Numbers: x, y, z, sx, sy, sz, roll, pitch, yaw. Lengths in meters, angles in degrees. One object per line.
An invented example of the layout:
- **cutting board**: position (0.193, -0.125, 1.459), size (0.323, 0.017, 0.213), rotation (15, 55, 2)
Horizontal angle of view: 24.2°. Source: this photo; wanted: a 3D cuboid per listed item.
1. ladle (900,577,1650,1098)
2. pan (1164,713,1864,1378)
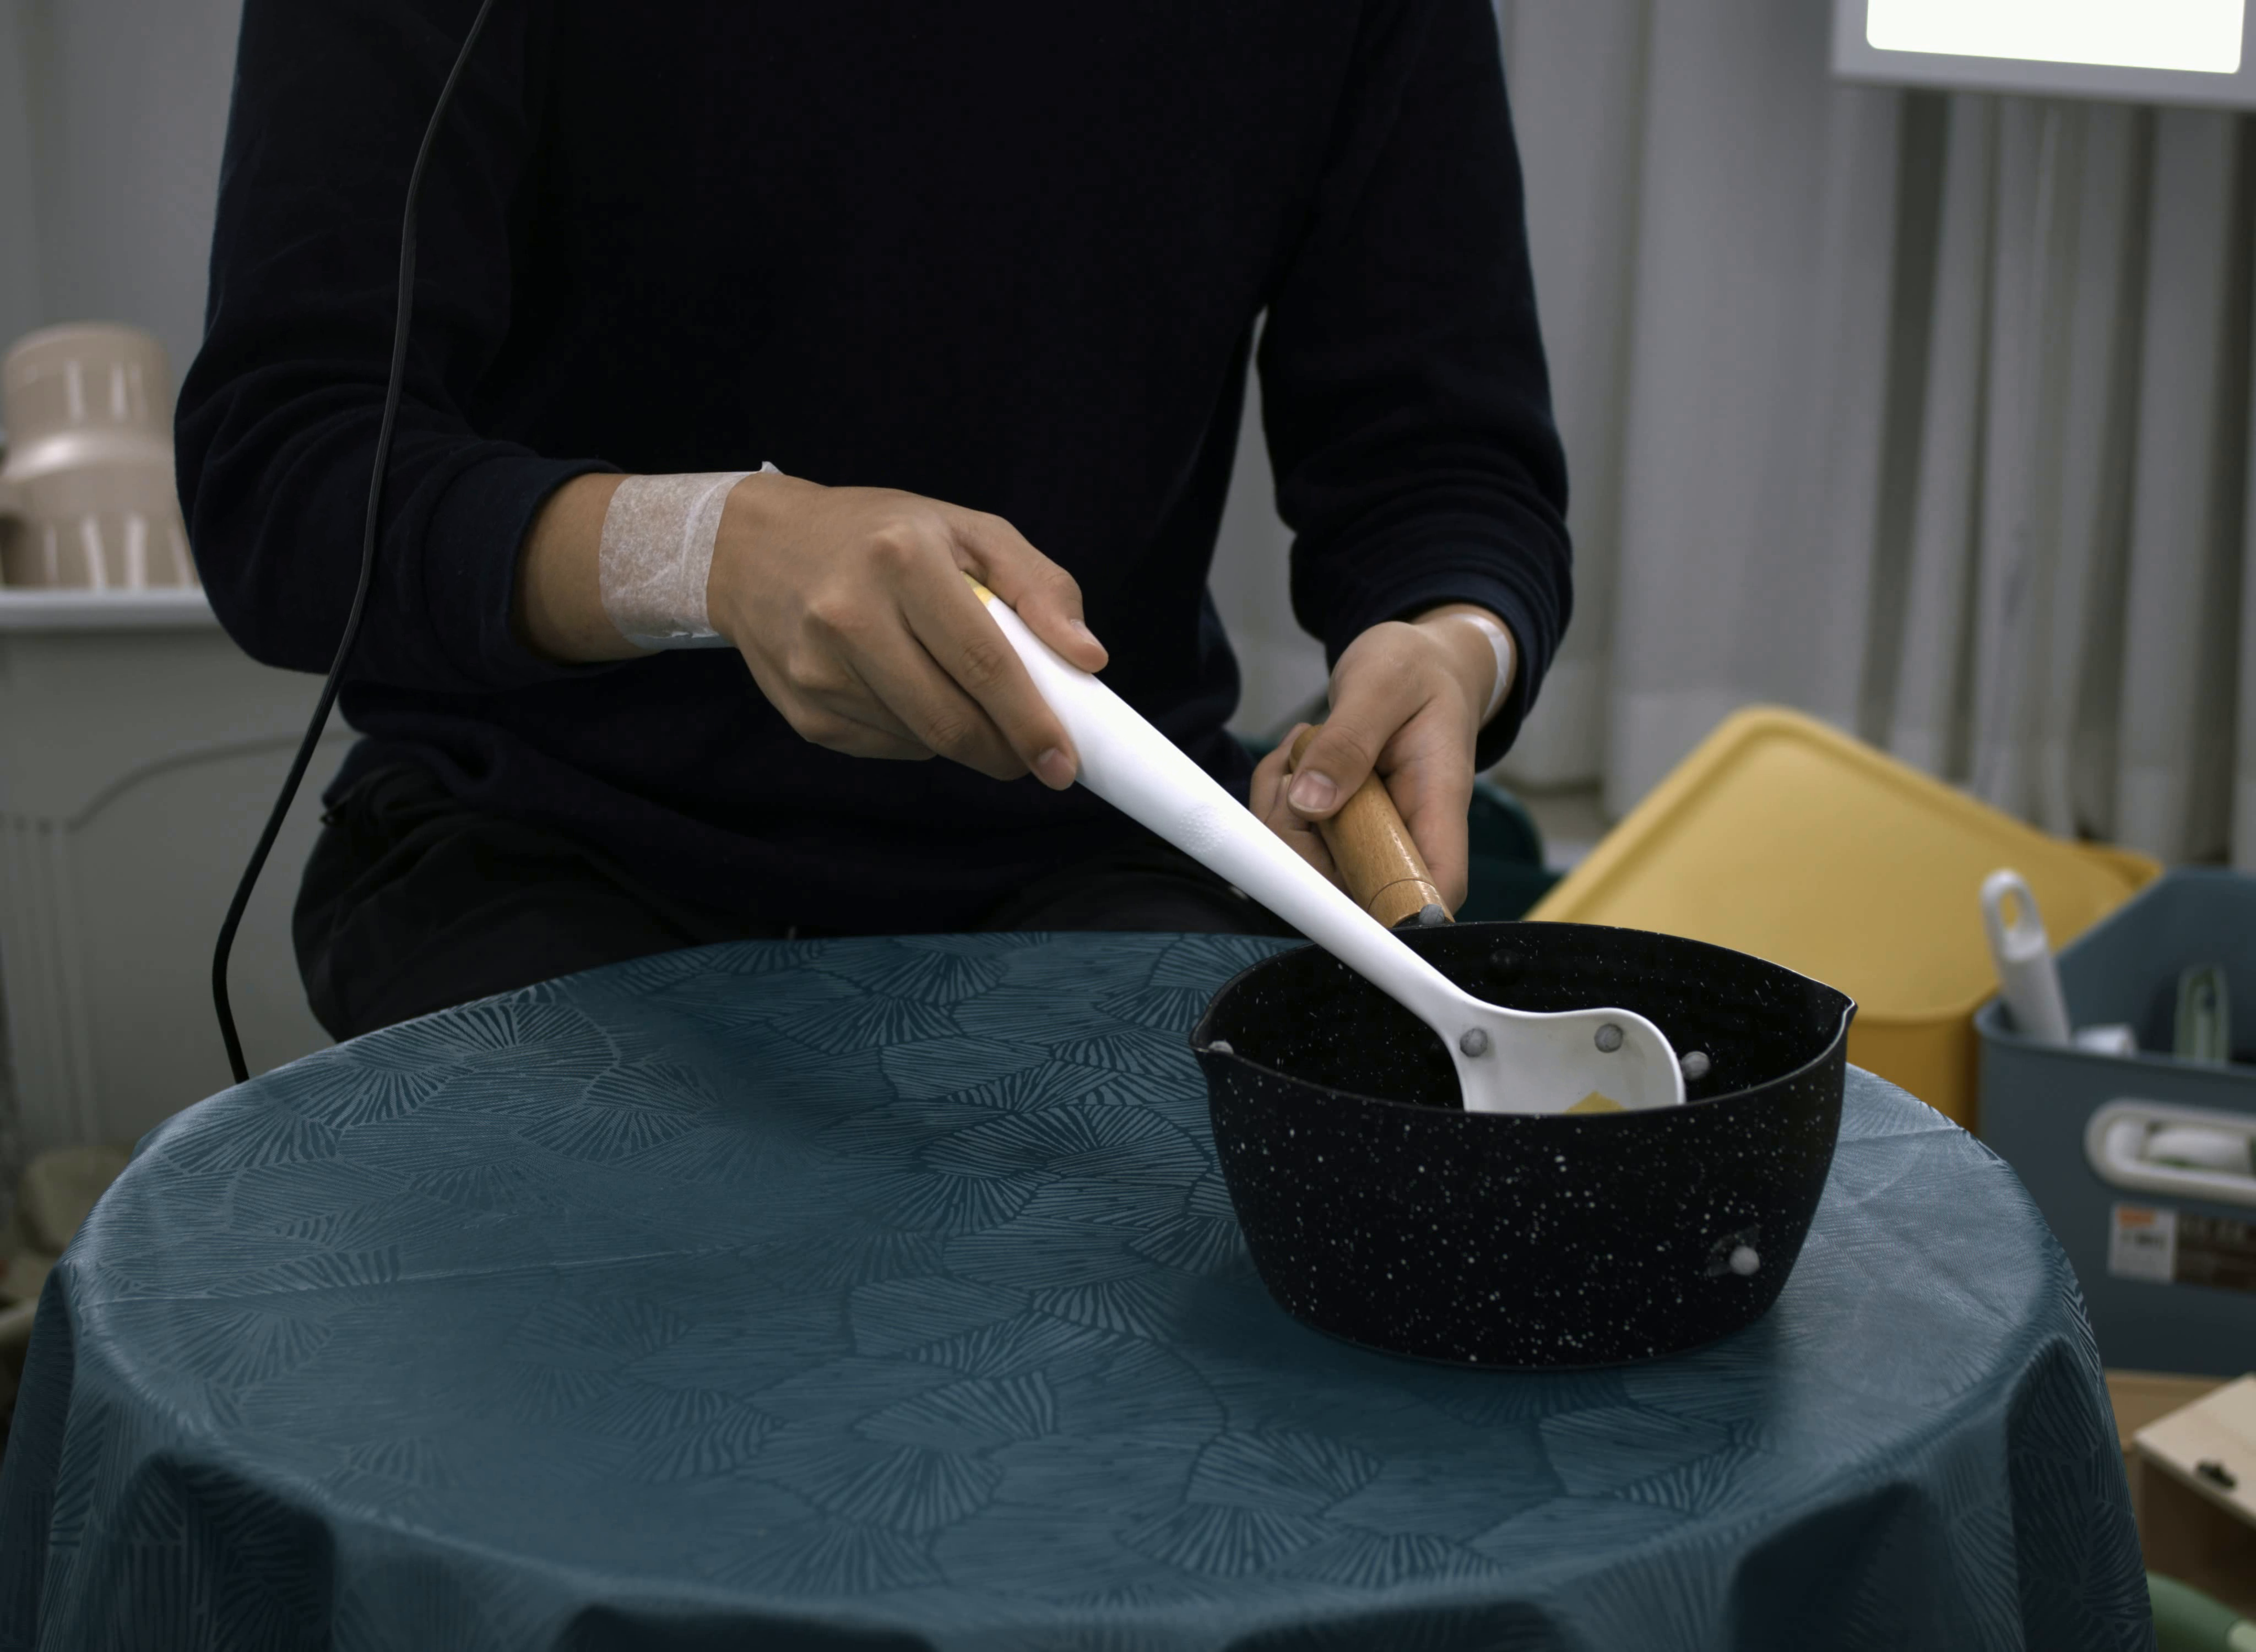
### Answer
- **ladle**: position (0.040, 0.029, 1.566), size (0.291, 0.090, 0.070), rotation (40, 25, 11)
- **pan**: position (0.097, 0.061, 1.605), size (0.207, 0.109, 0.339), rotation (-4, 18, -12)
